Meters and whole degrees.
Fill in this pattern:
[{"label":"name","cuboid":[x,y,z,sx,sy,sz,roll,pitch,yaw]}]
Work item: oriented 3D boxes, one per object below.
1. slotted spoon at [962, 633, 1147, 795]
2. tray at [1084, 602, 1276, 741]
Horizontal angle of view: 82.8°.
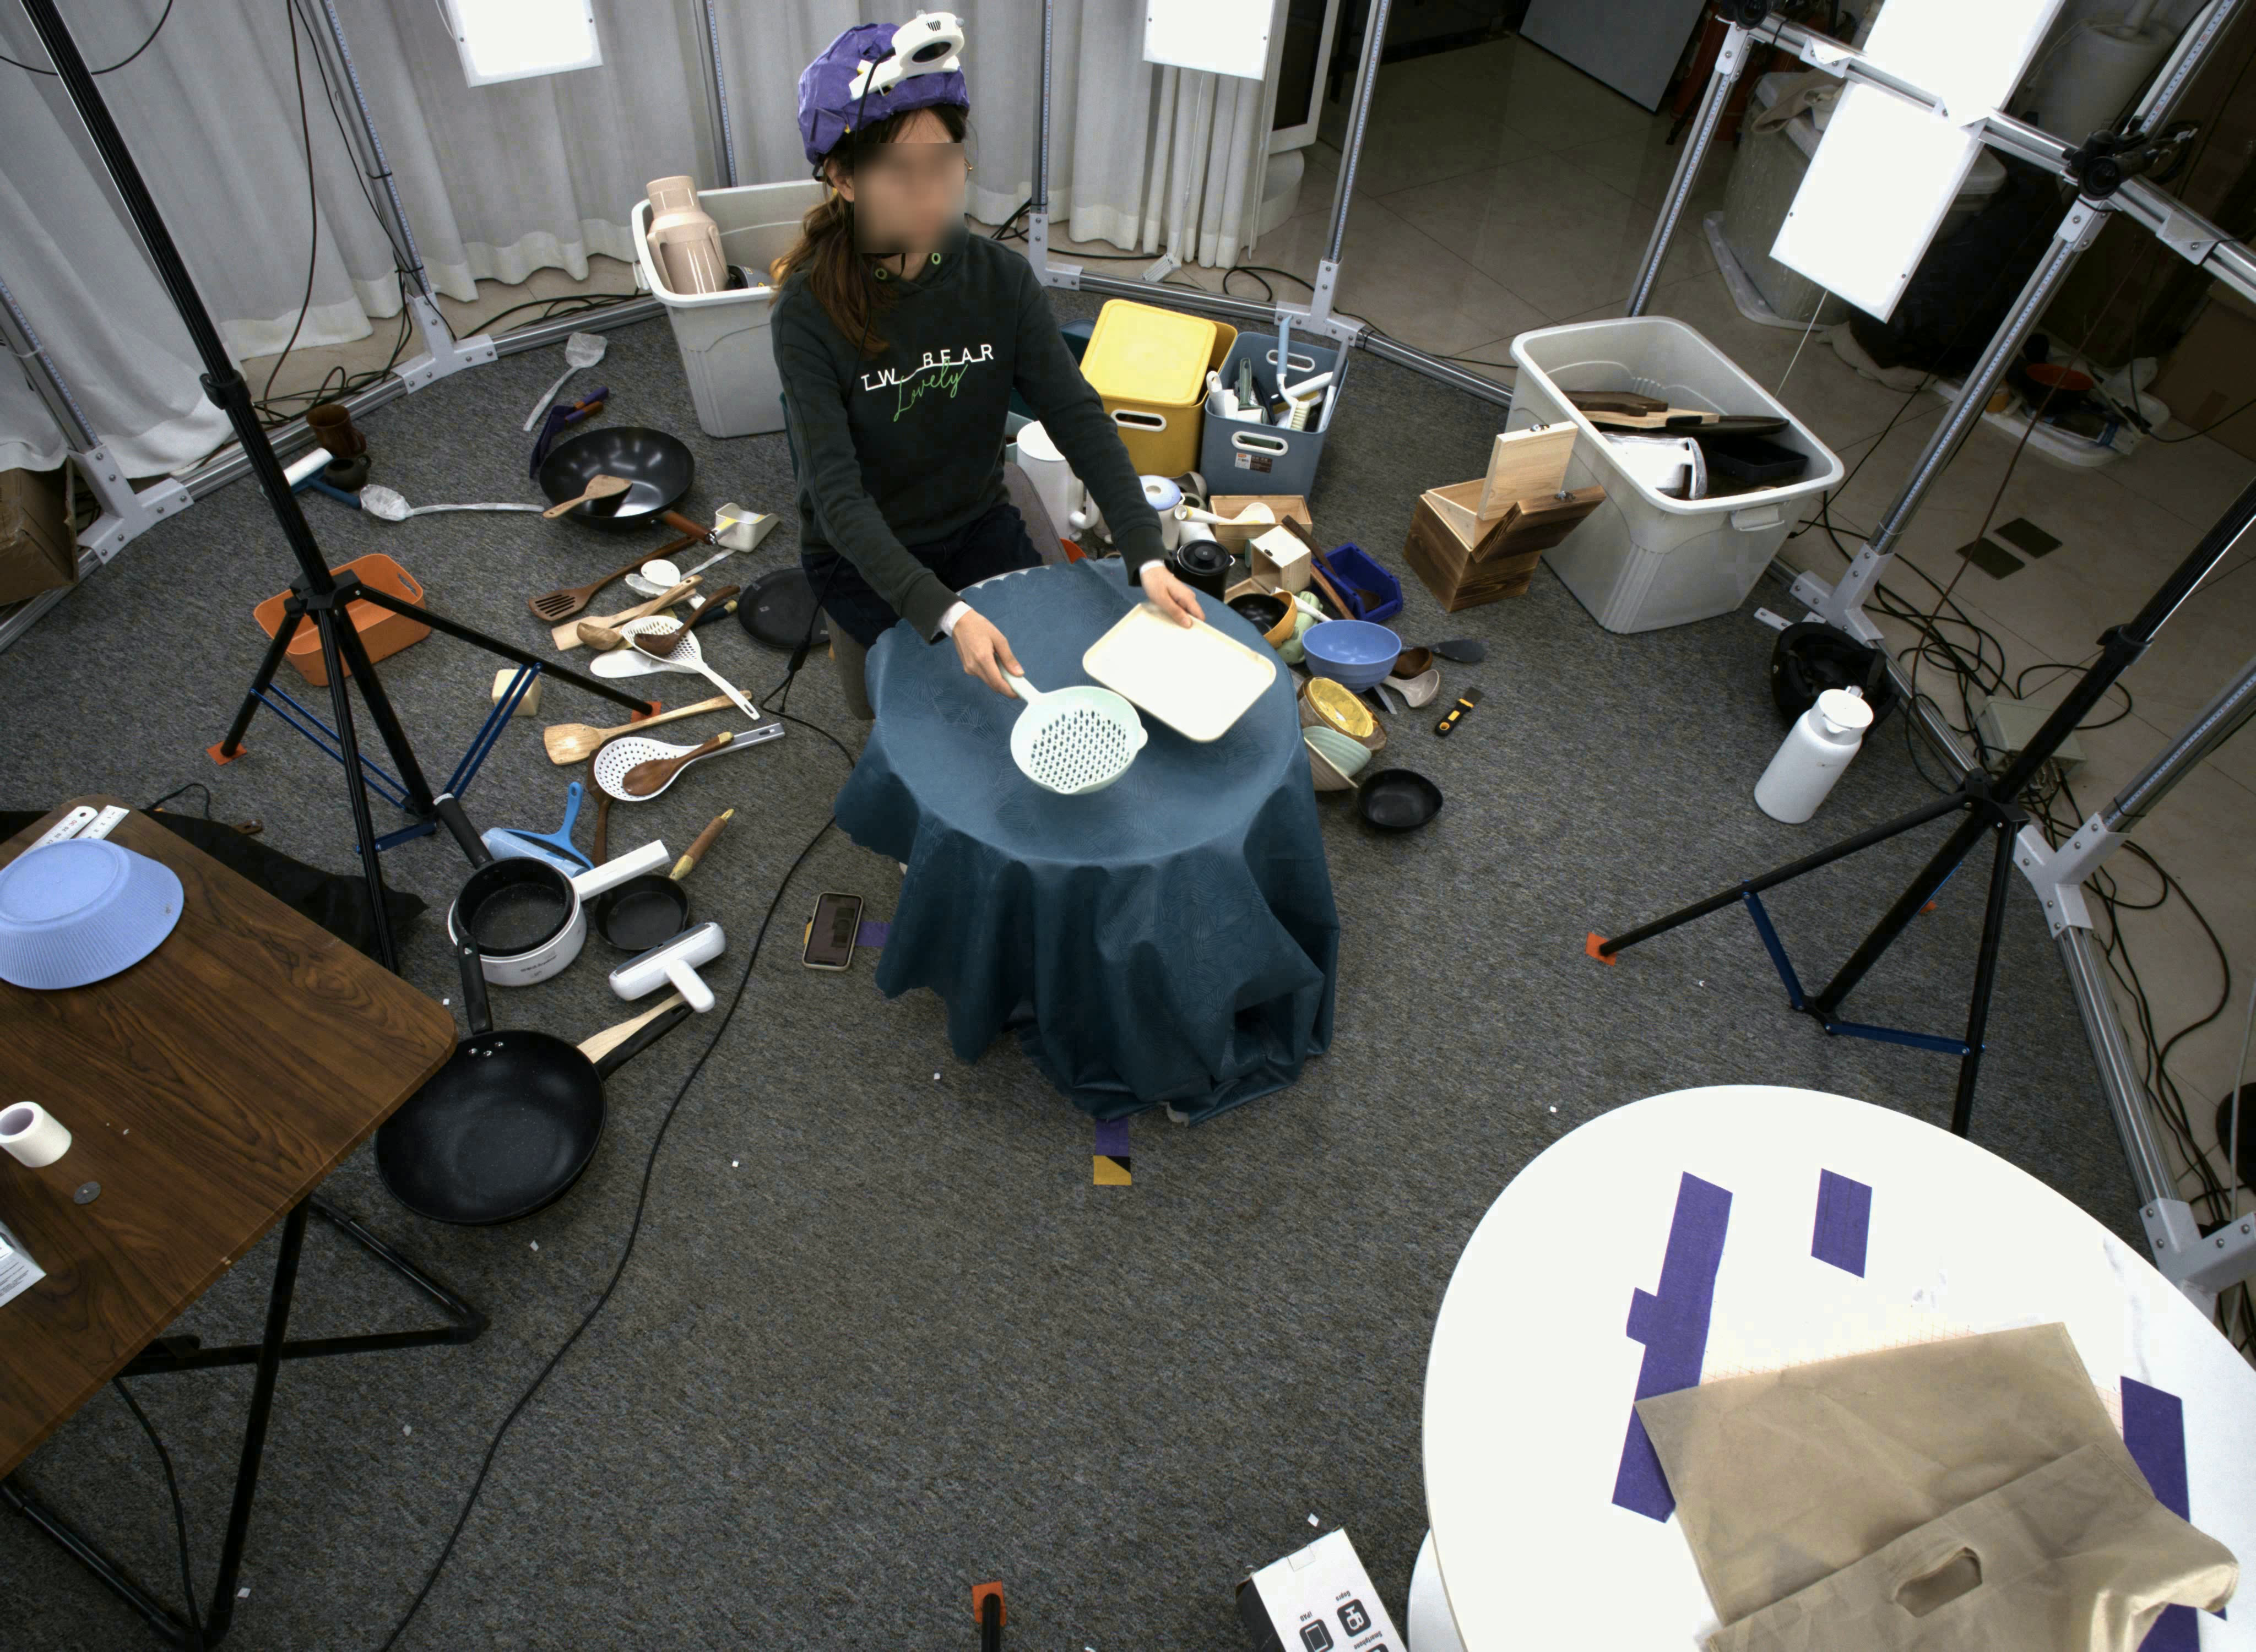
[{"label":"slotted spoon","cuboid":[-0.124,-0.166,1.711,0.170,0.073,0.365,-34,62,-17]},{"label":"tray","cuboid":[0.071,-0.216,1.781,0.243,0.017,0.173,33,63,26]}]
